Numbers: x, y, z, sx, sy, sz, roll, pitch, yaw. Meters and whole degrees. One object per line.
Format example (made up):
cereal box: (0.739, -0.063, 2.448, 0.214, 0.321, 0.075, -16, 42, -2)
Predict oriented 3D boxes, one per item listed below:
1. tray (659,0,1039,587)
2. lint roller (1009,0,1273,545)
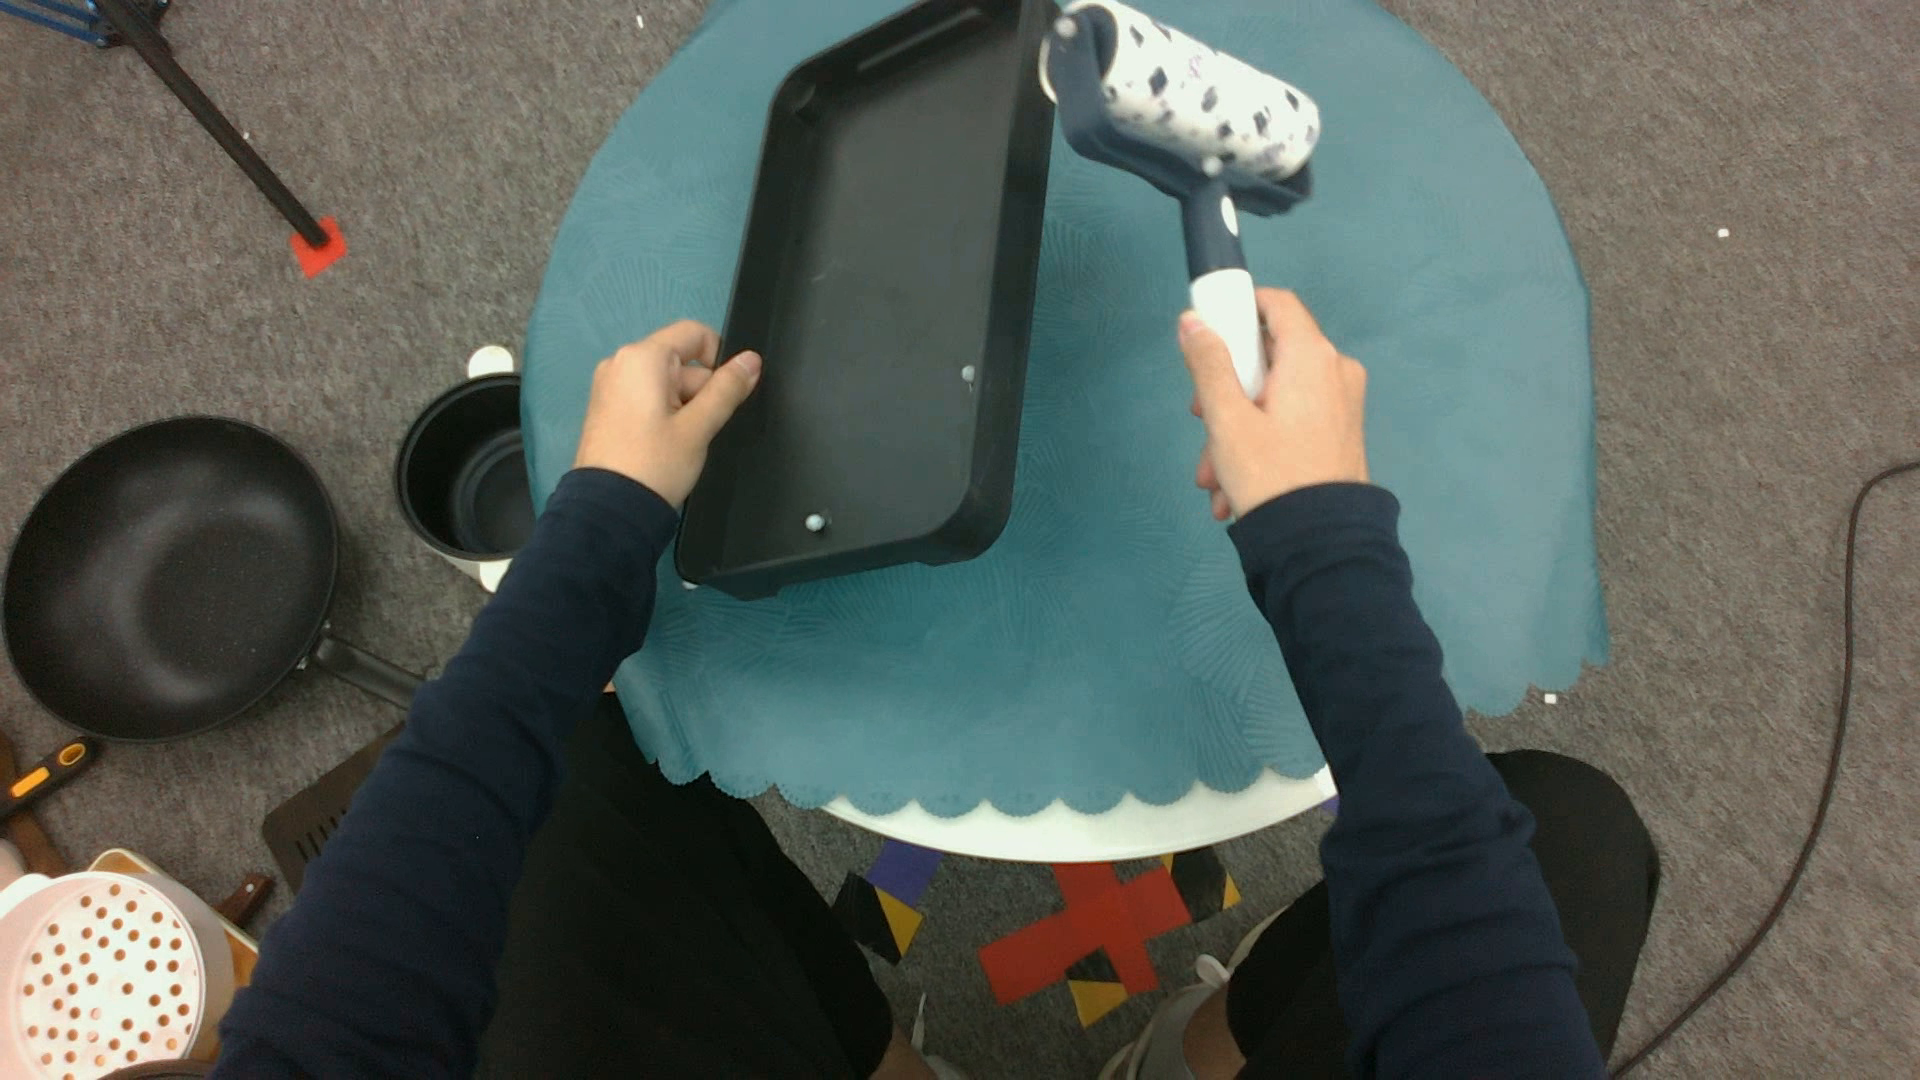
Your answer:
tray: (-0.052, -0.137, 0.679, 0.183, 0.037, 0.319, -11, 63, 36)
lint roller: (0.108, -0.121, 0.629, 0.050, 0.177, 0.247, -19, 78, 38)
